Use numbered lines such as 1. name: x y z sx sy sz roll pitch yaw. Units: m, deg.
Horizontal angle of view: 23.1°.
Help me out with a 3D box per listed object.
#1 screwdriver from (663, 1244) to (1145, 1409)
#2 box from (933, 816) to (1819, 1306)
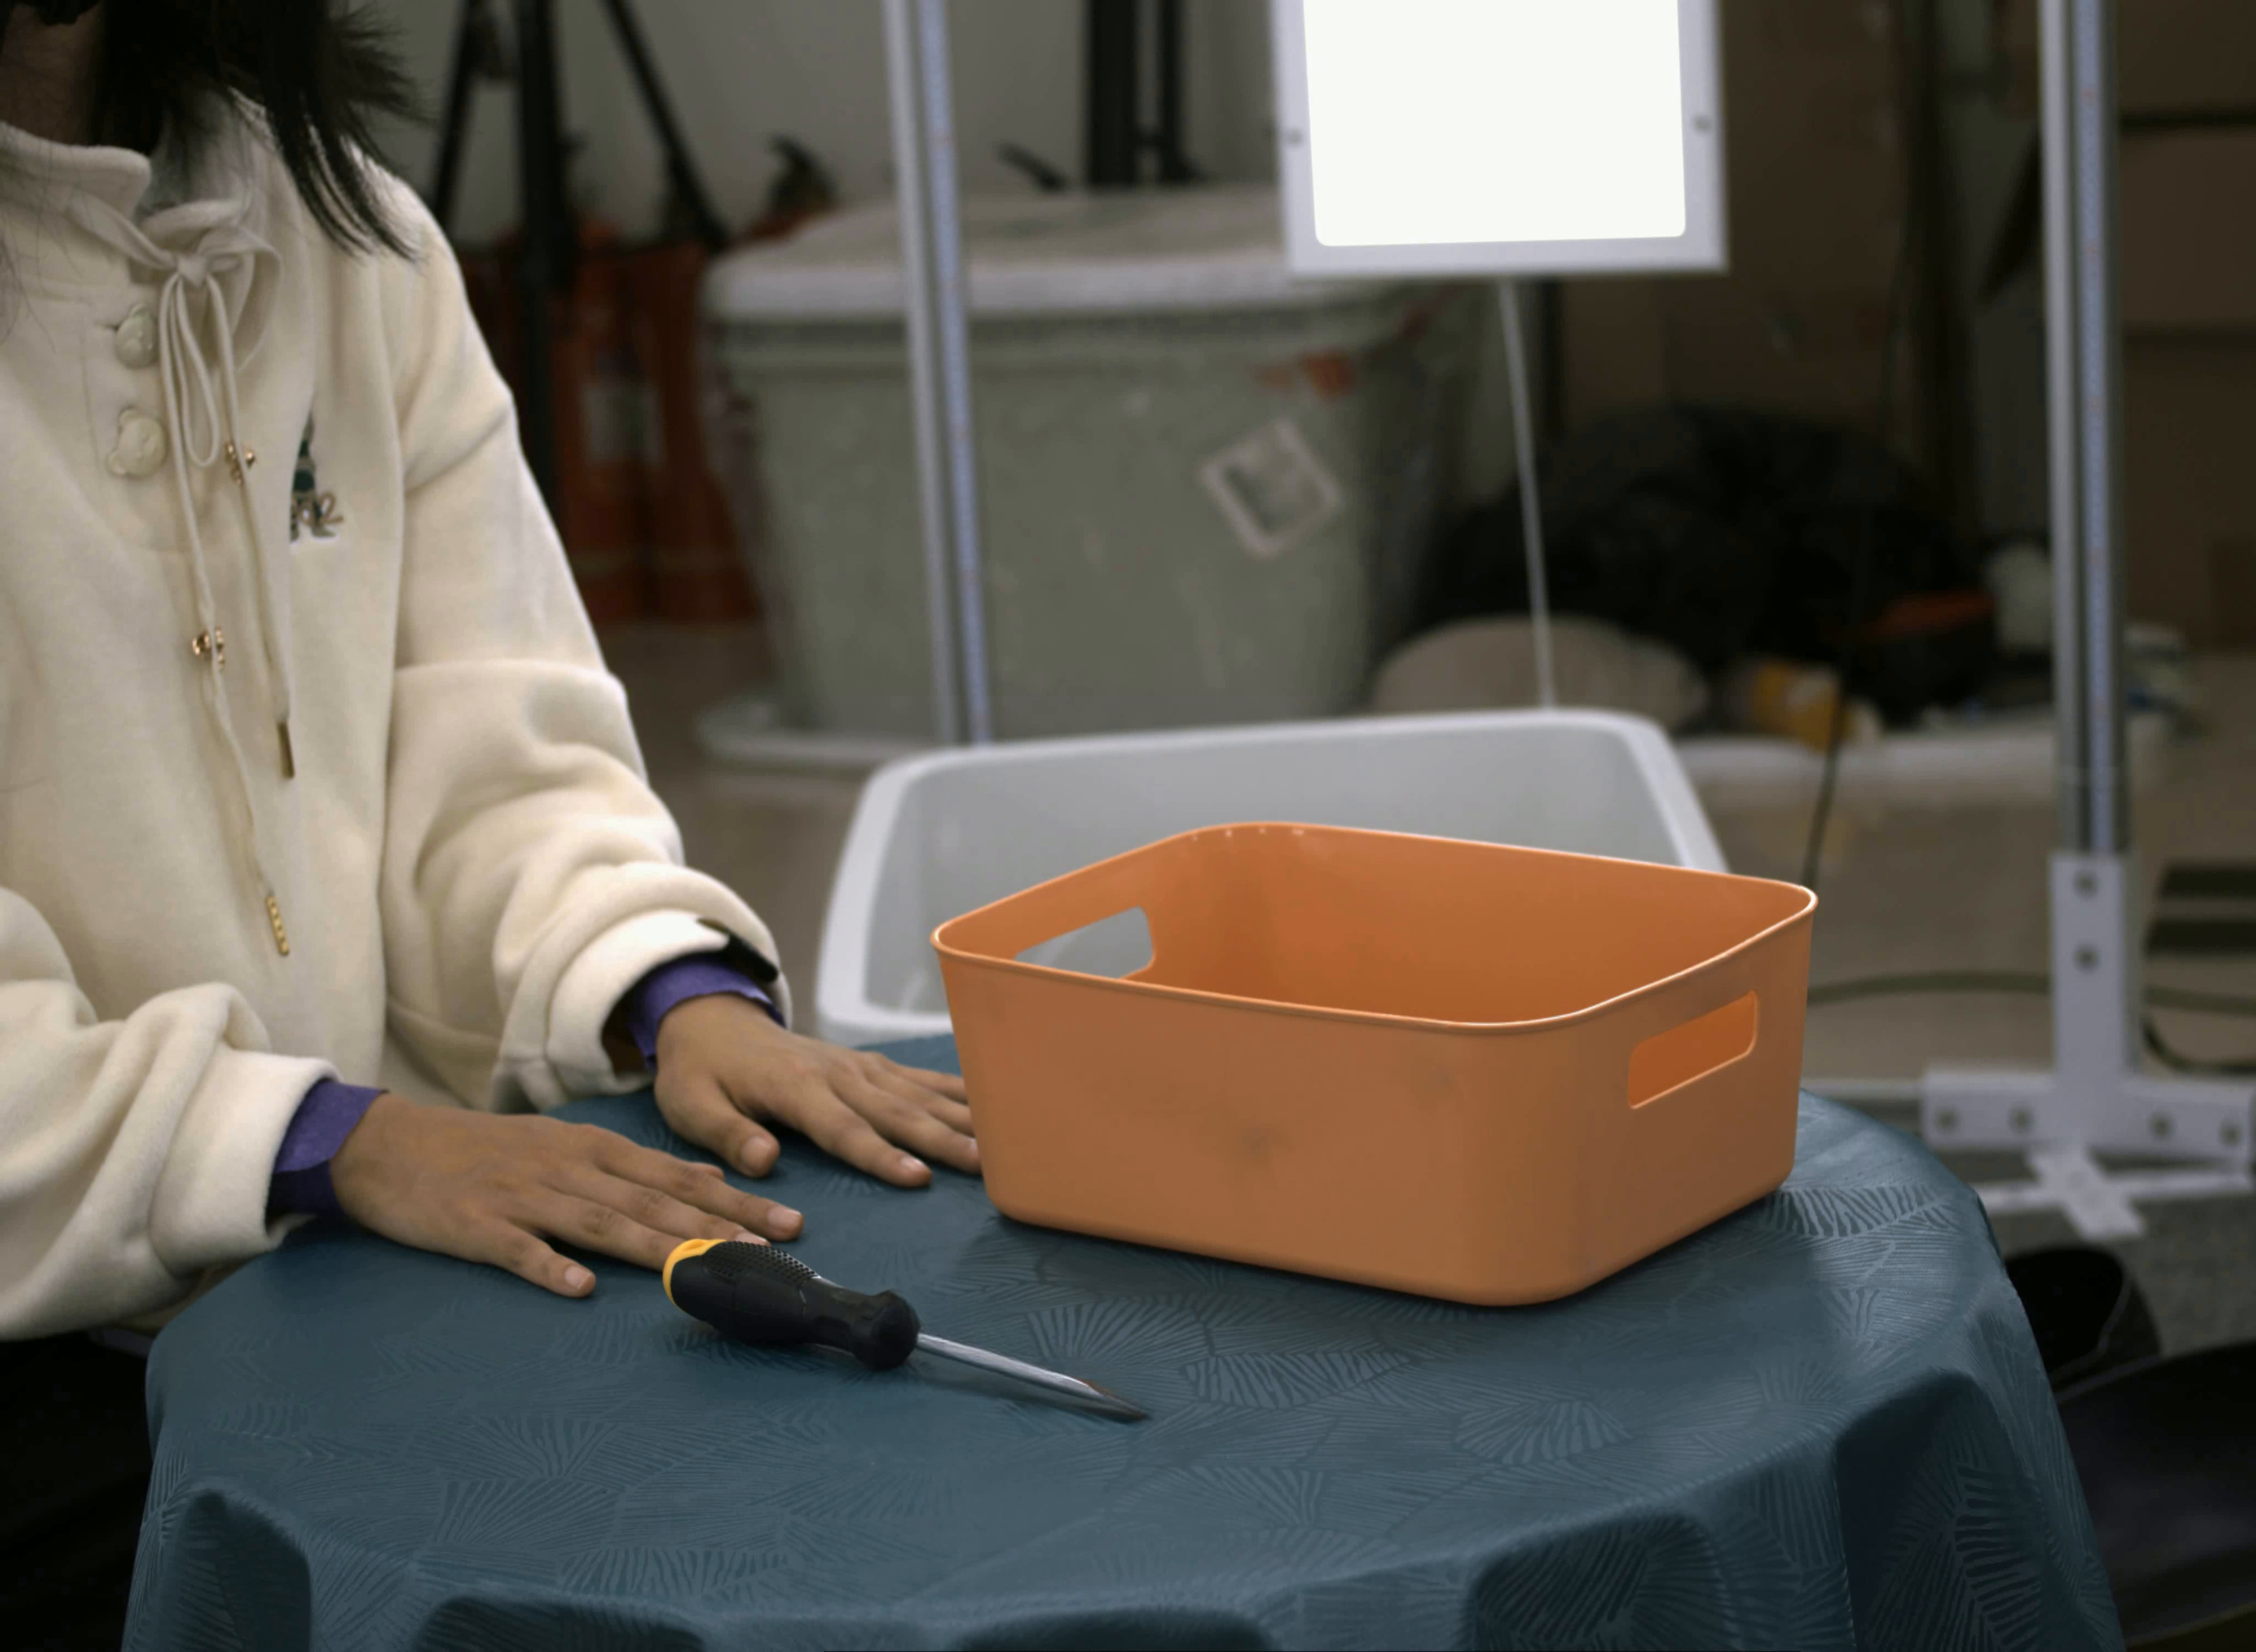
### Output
1. screwdriver: -0.074 0.162 1.737 0.202 0.031 0.030 12 21 43
2. box: 0.086 0.076 1.852 0.279 0.103 0.194 7 19 40
